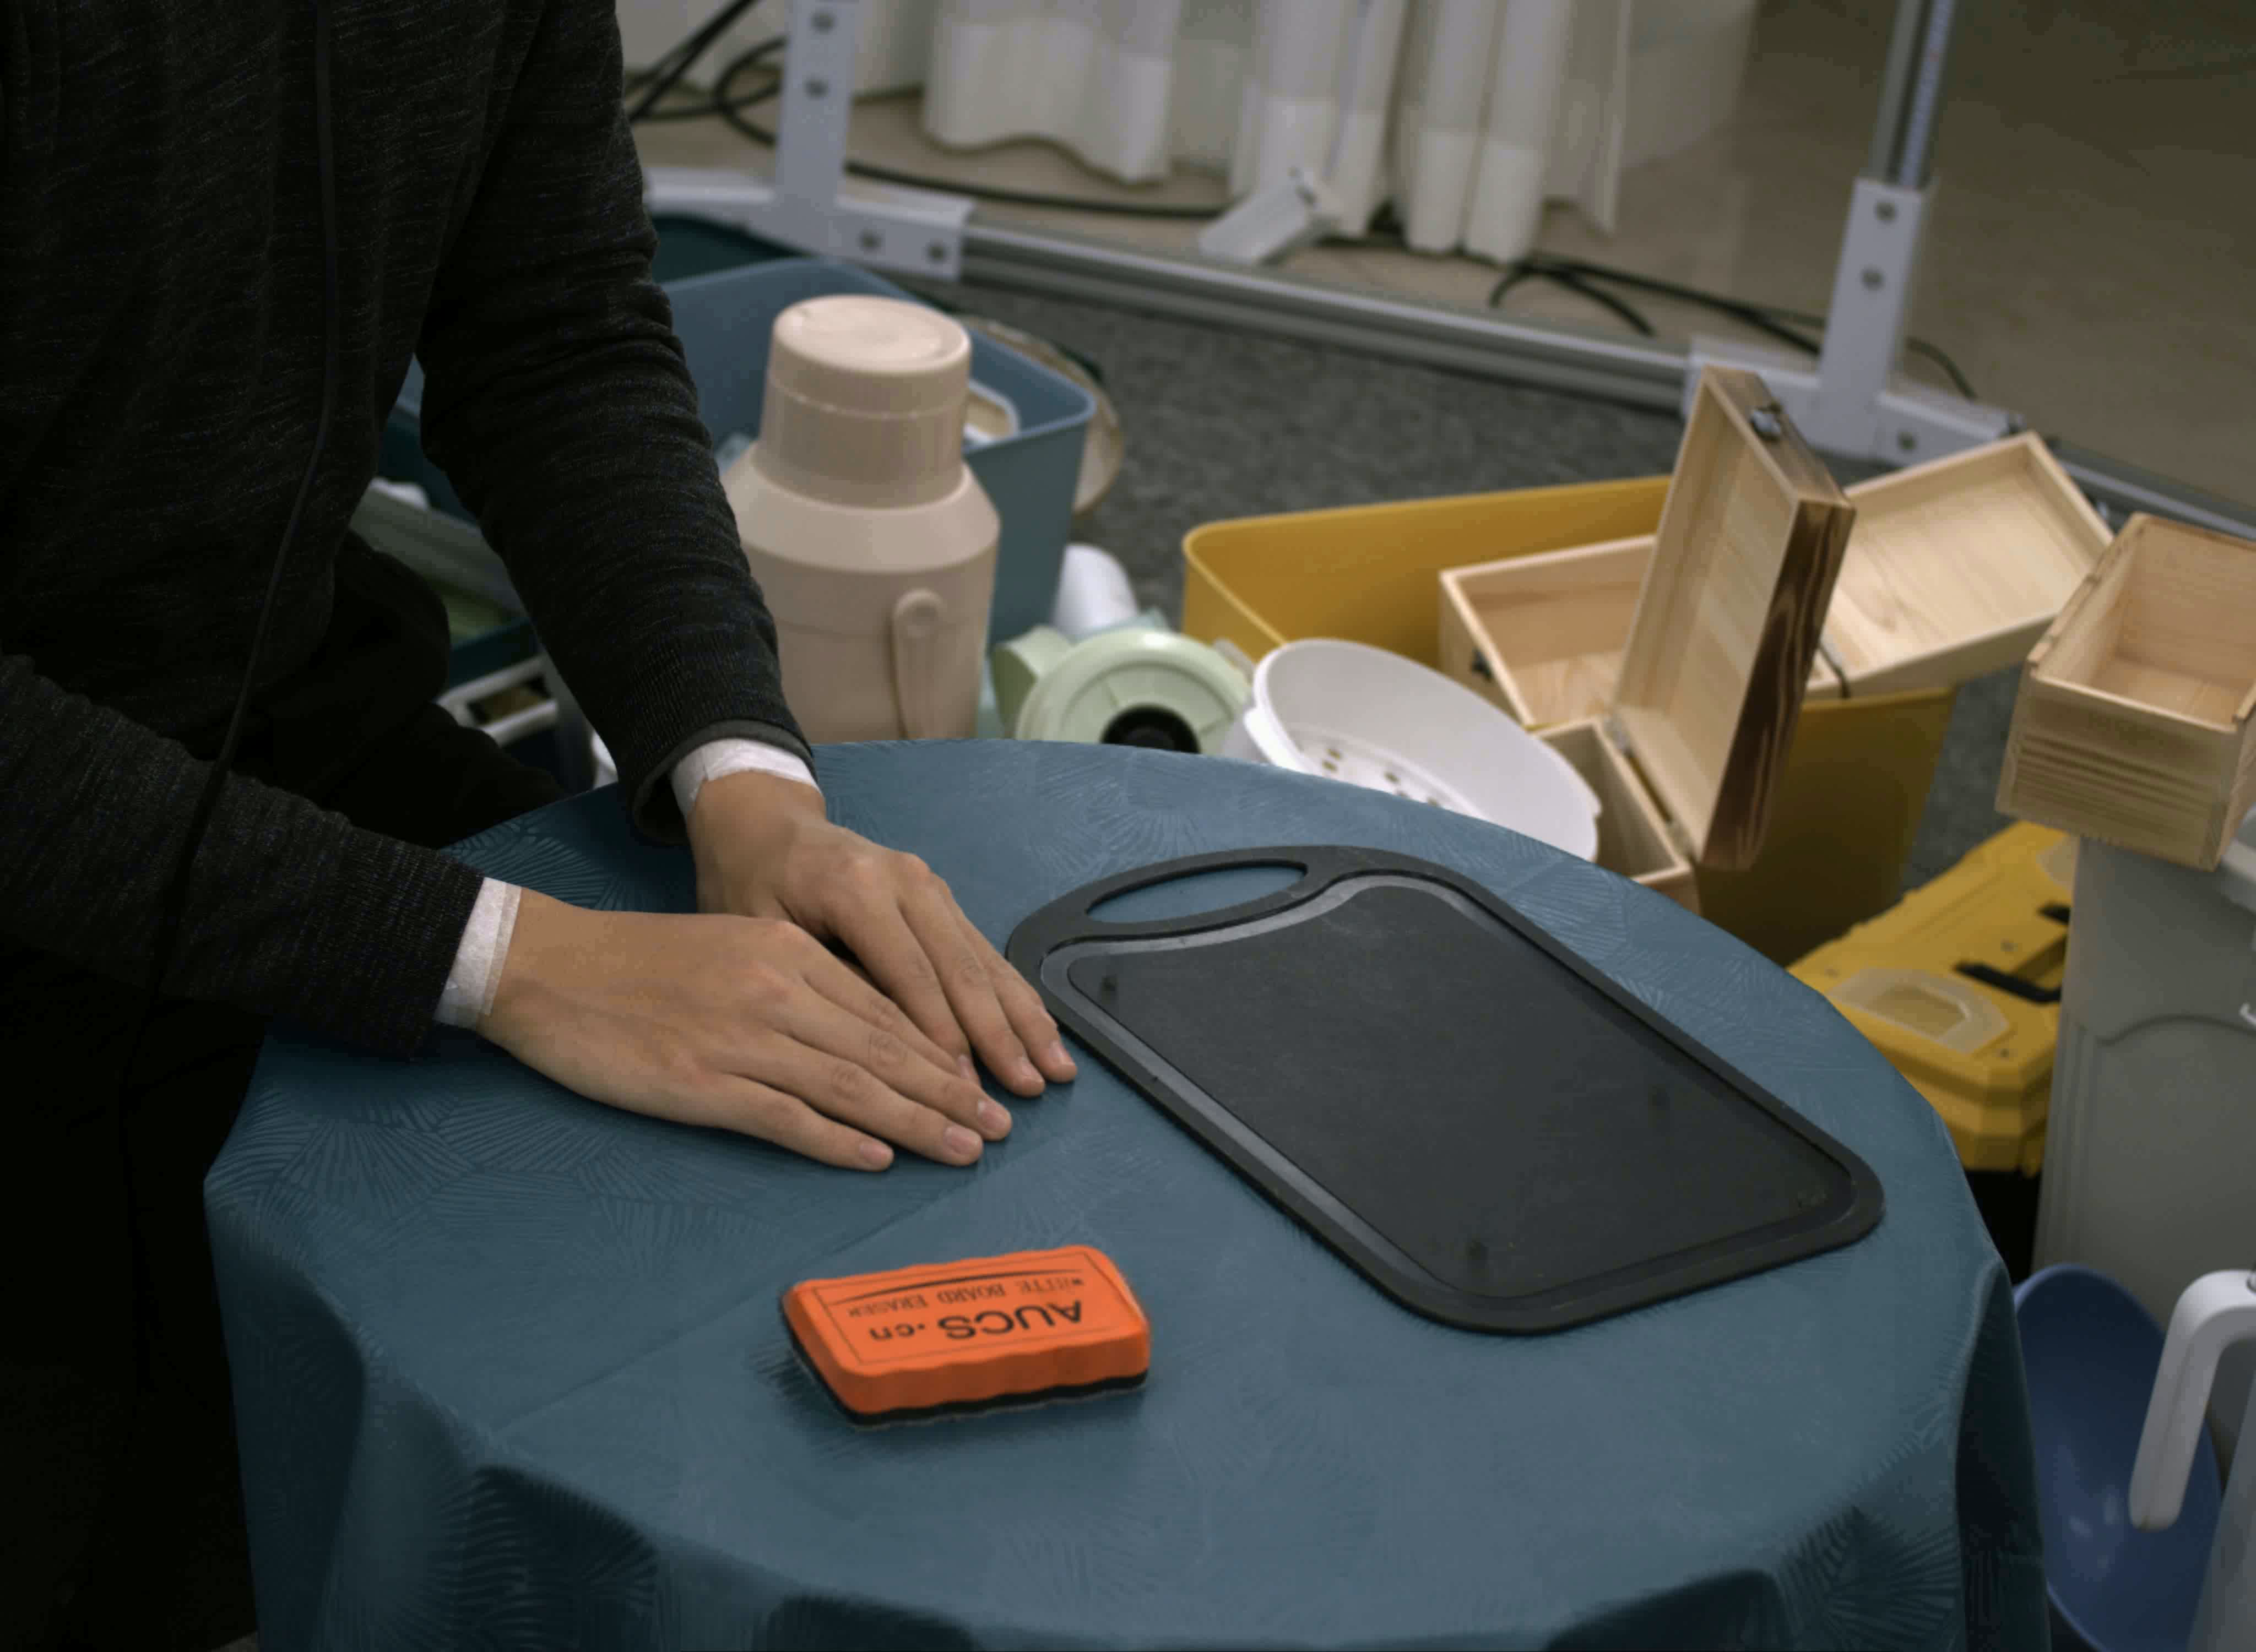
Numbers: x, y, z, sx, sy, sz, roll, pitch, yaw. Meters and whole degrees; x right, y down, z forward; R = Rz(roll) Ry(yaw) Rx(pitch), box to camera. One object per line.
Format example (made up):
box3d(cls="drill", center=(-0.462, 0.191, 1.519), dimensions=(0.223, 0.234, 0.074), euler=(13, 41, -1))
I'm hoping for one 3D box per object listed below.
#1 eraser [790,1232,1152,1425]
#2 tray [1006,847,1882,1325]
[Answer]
box3d(cls="eraser", center=(-0.050, 0.159, 1.687), dimensions=(0.107, 0.023, 0.059), euler=(-8, 29, -22))
box3d(cls="tray", center=(0.103, 0.083, 1.897), dimensions=(0.210, 0.010, 0.328), euler=(-12, 32, -32))
